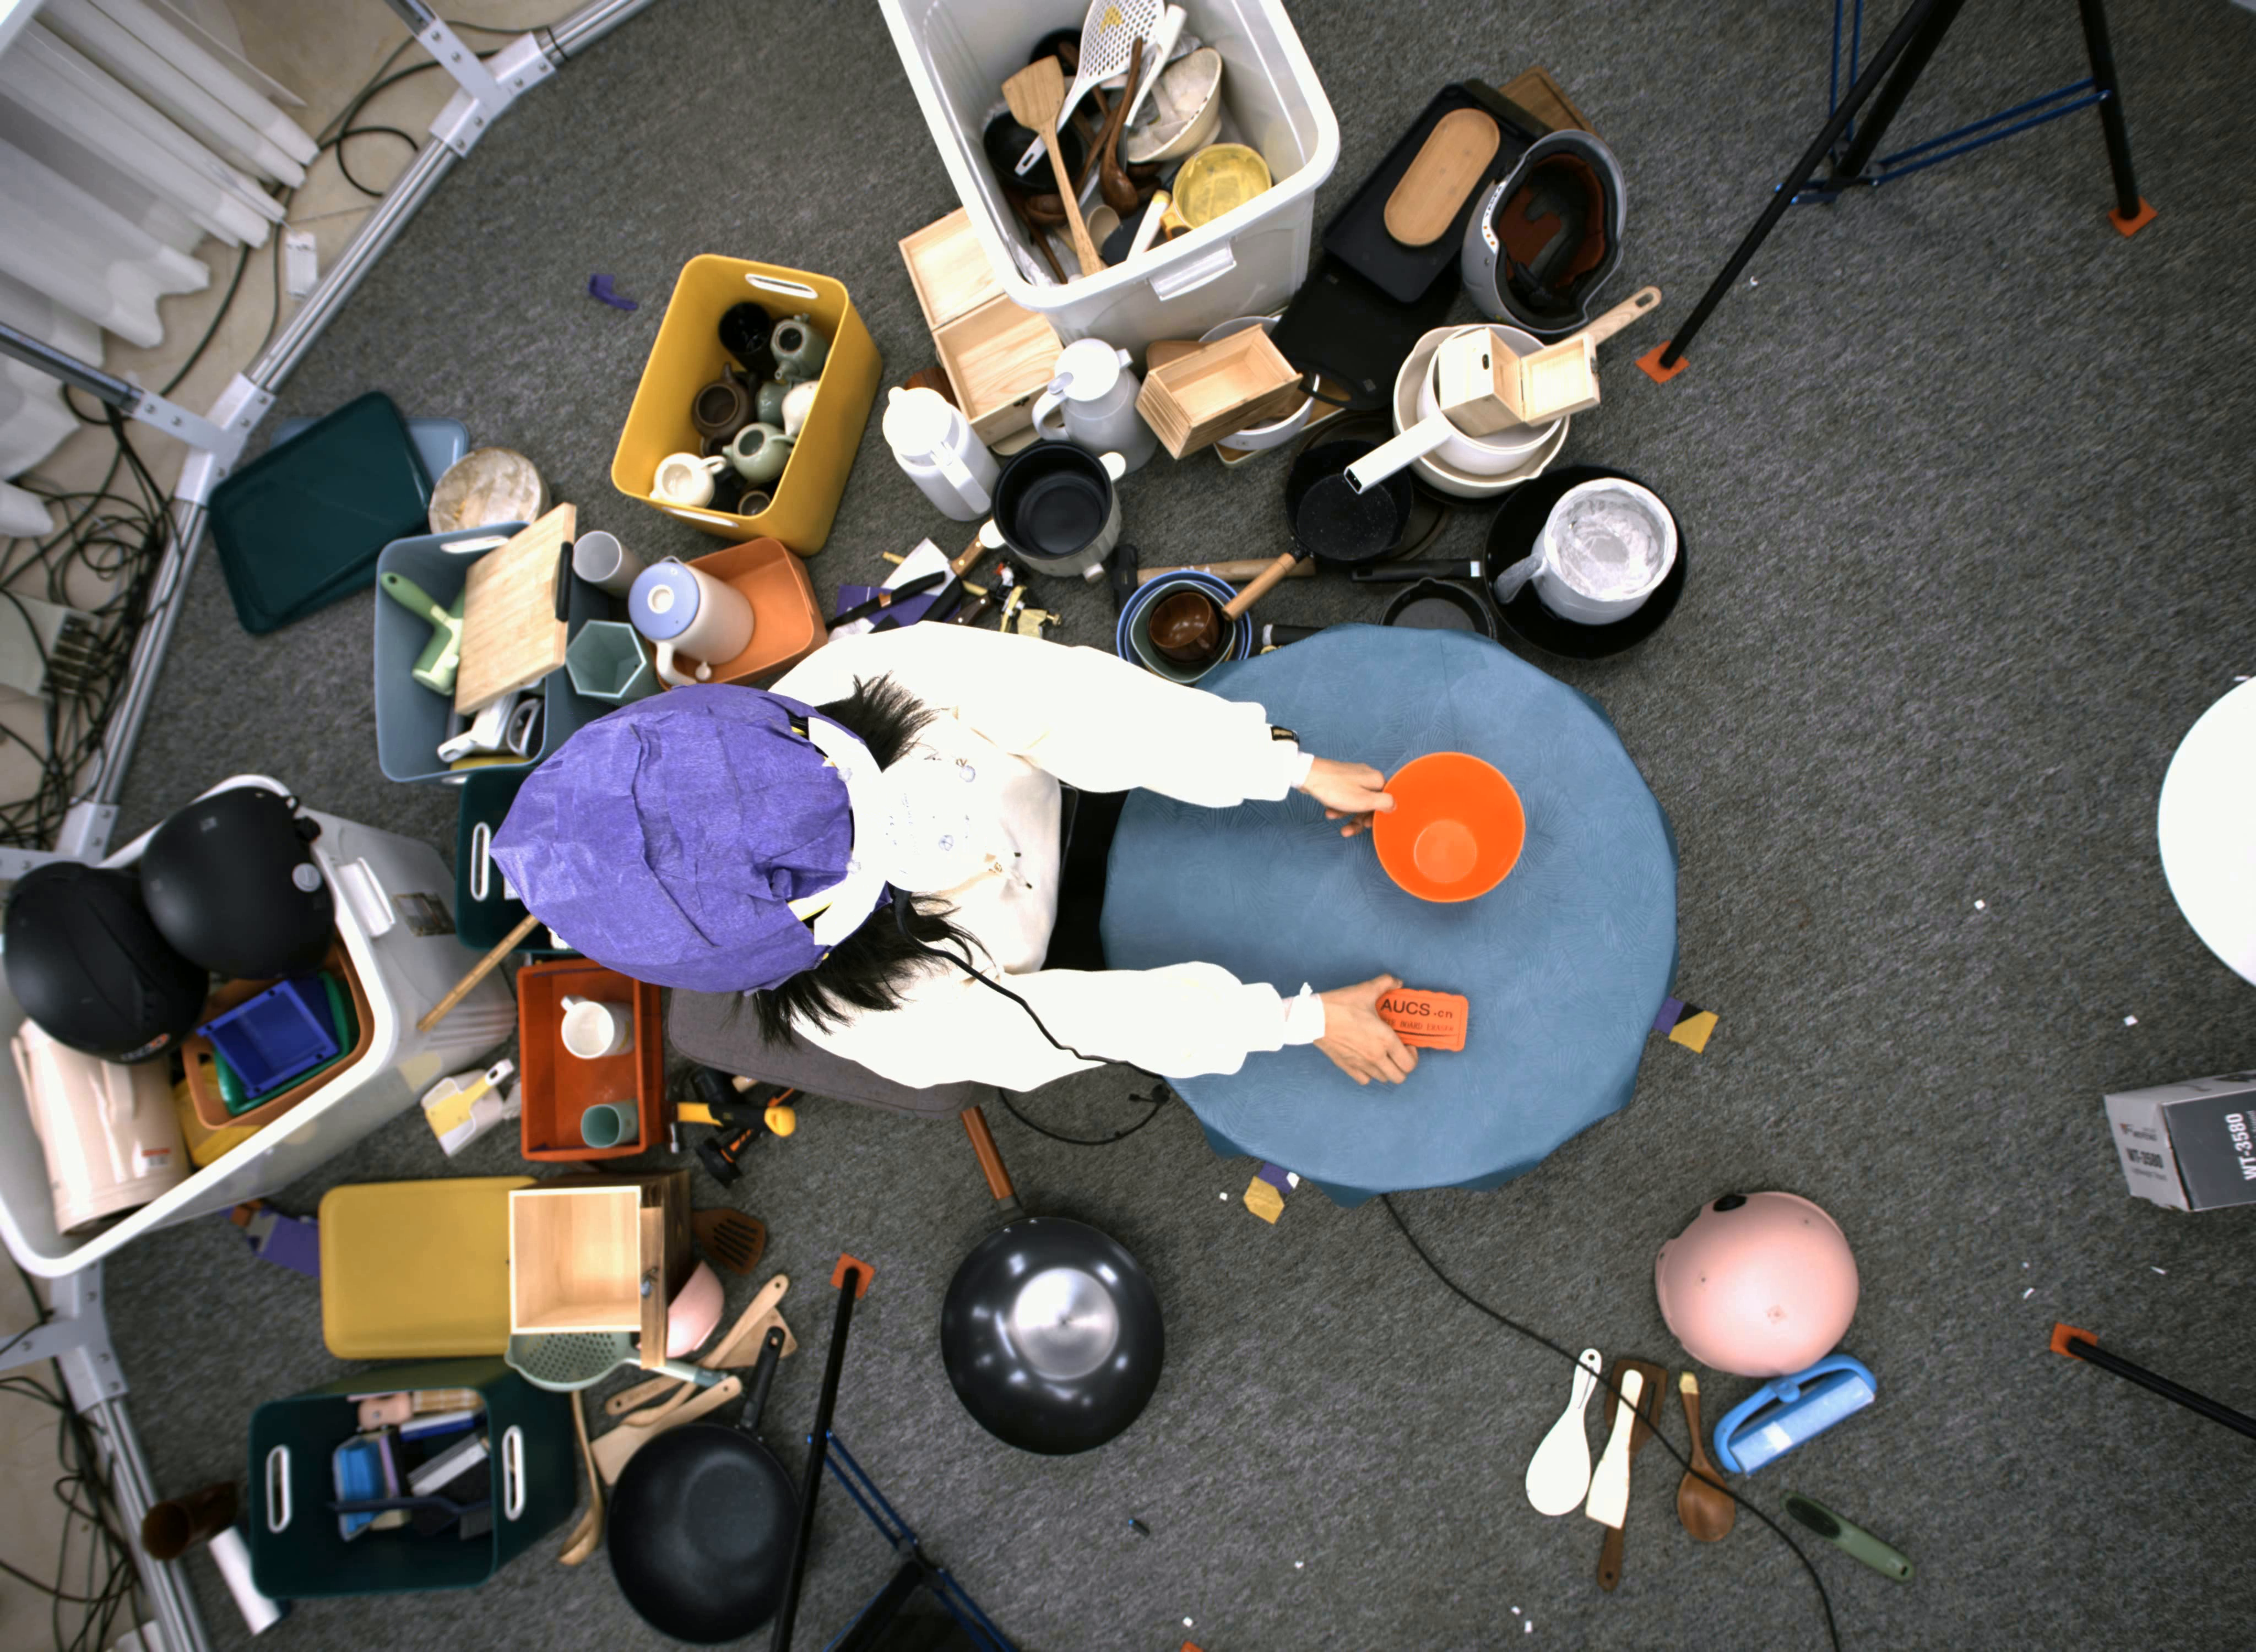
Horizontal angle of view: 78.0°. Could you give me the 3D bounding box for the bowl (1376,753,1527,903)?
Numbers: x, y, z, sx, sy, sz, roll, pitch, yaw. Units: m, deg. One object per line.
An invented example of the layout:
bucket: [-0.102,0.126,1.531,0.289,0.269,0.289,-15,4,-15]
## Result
bowl: [0.327,0.007,1.400,0.148,0.105,0.147,-2,83,12]

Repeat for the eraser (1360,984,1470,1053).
eraser: [0.298,0.198,1.436,0.108,0.023,0.059,8,90,11]
